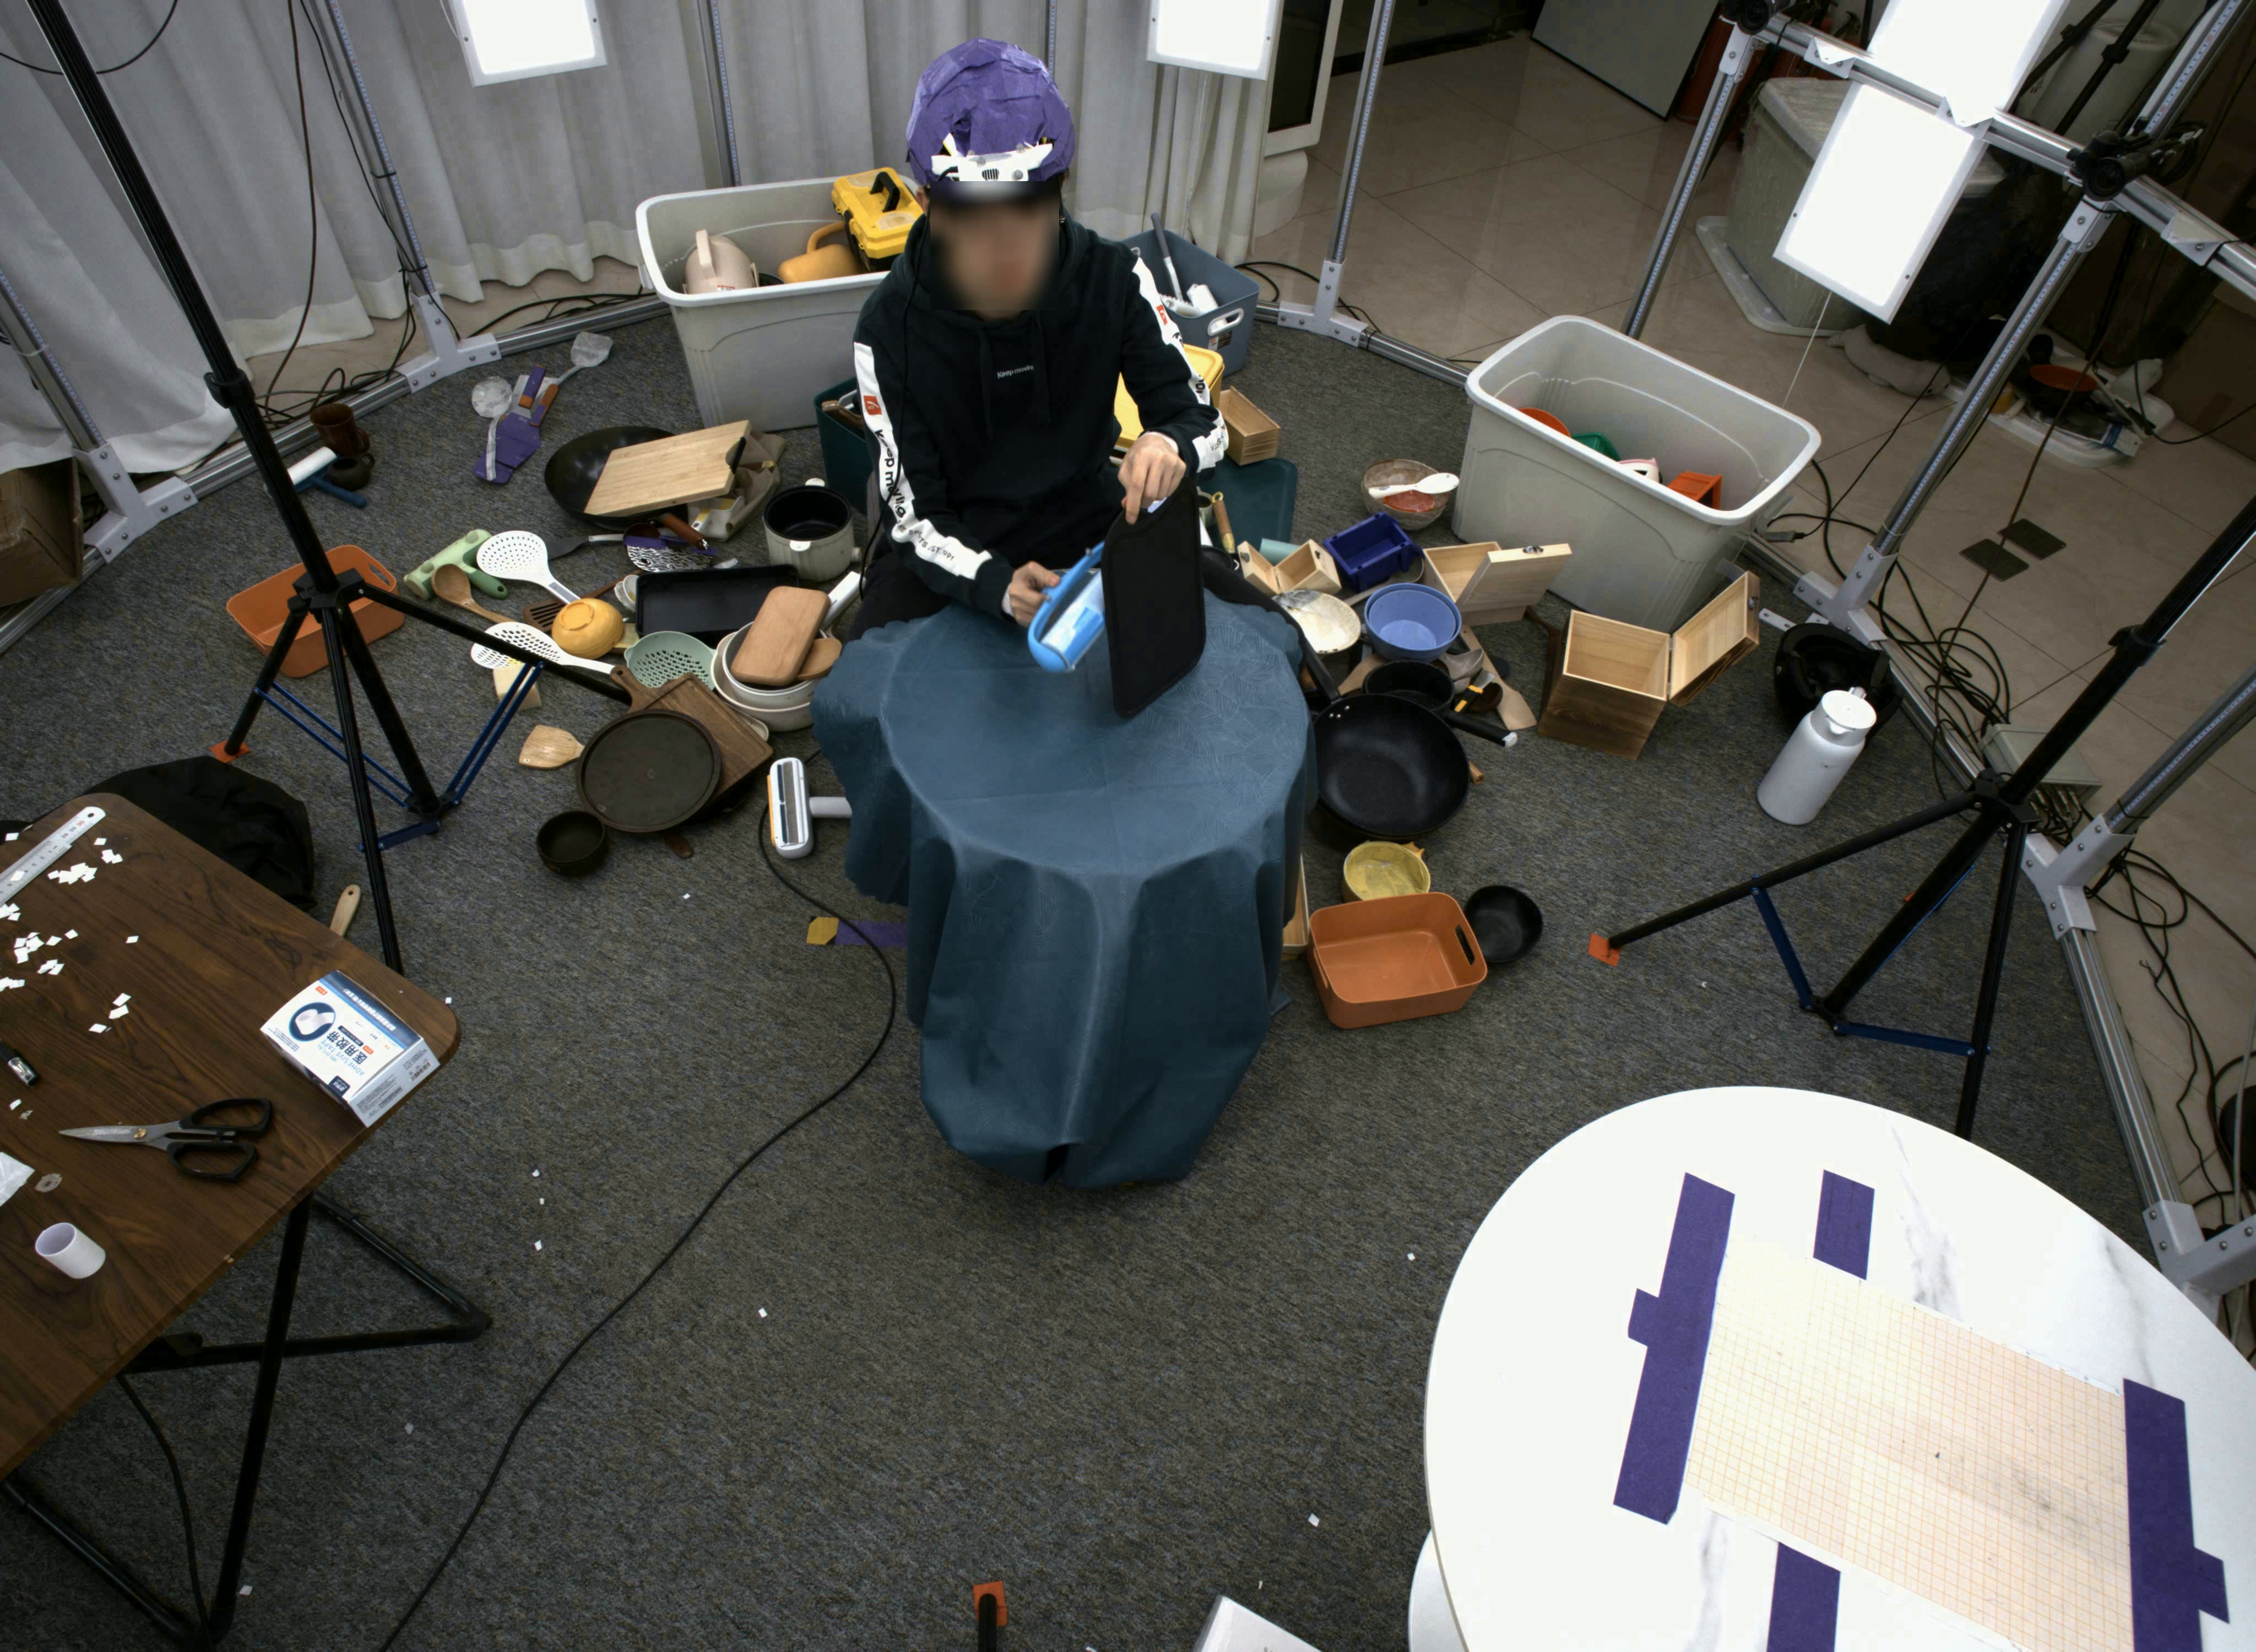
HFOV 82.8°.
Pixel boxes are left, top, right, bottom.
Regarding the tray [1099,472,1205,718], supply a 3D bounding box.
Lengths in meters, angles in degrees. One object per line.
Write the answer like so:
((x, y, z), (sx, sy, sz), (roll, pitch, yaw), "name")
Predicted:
((0.038, -0.311, 1.732), (0.010, 0.317, 0.213), (24, 48, 31), "tray")

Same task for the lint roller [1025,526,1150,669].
((-0.085, -0.305, 1.718), (0.182, 0.066, 0.231), (9, 61, 48), "lint roller")
